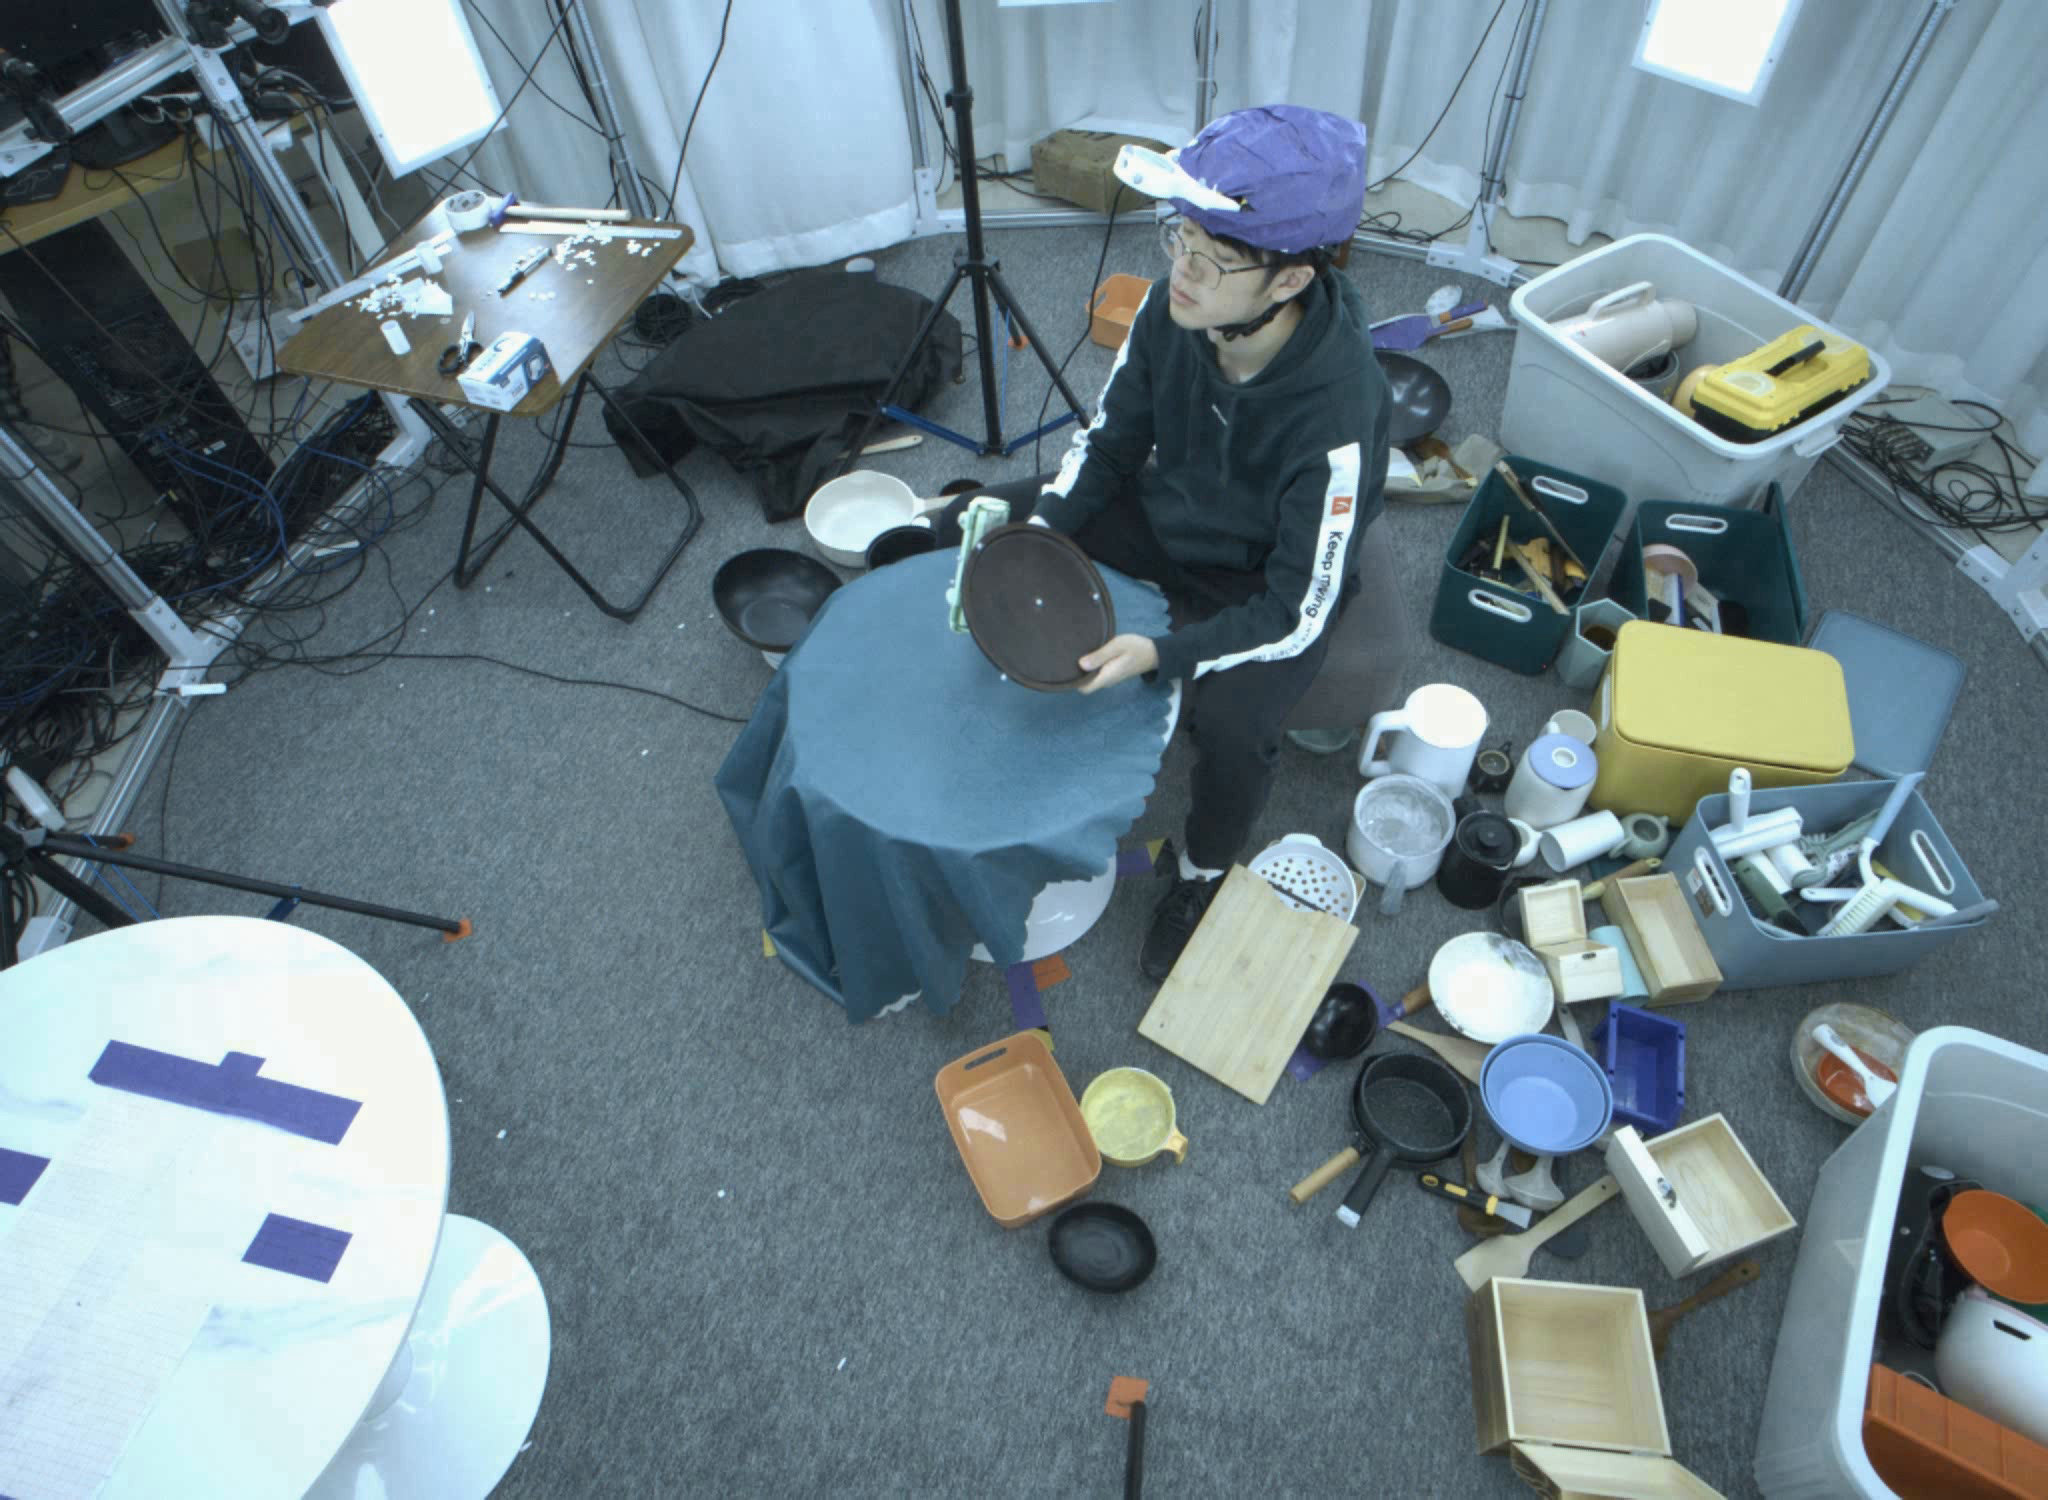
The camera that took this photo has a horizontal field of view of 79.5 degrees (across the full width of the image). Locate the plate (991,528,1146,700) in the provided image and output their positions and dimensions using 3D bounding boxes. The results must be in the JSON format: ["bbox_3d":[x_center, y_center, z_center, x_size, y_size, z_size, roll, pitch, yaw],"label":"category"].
[{"bbox_3d":[0.063,-0.189,1.708,0.260,0.028,0.253,11,70,-29],"label":"plate"}]

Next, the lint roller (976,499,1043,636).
[{"bbox_3d":[-0.007,-0.281,1.817,0.081,0.199,0.184,20,26,15],"label":"lint roller"}]
